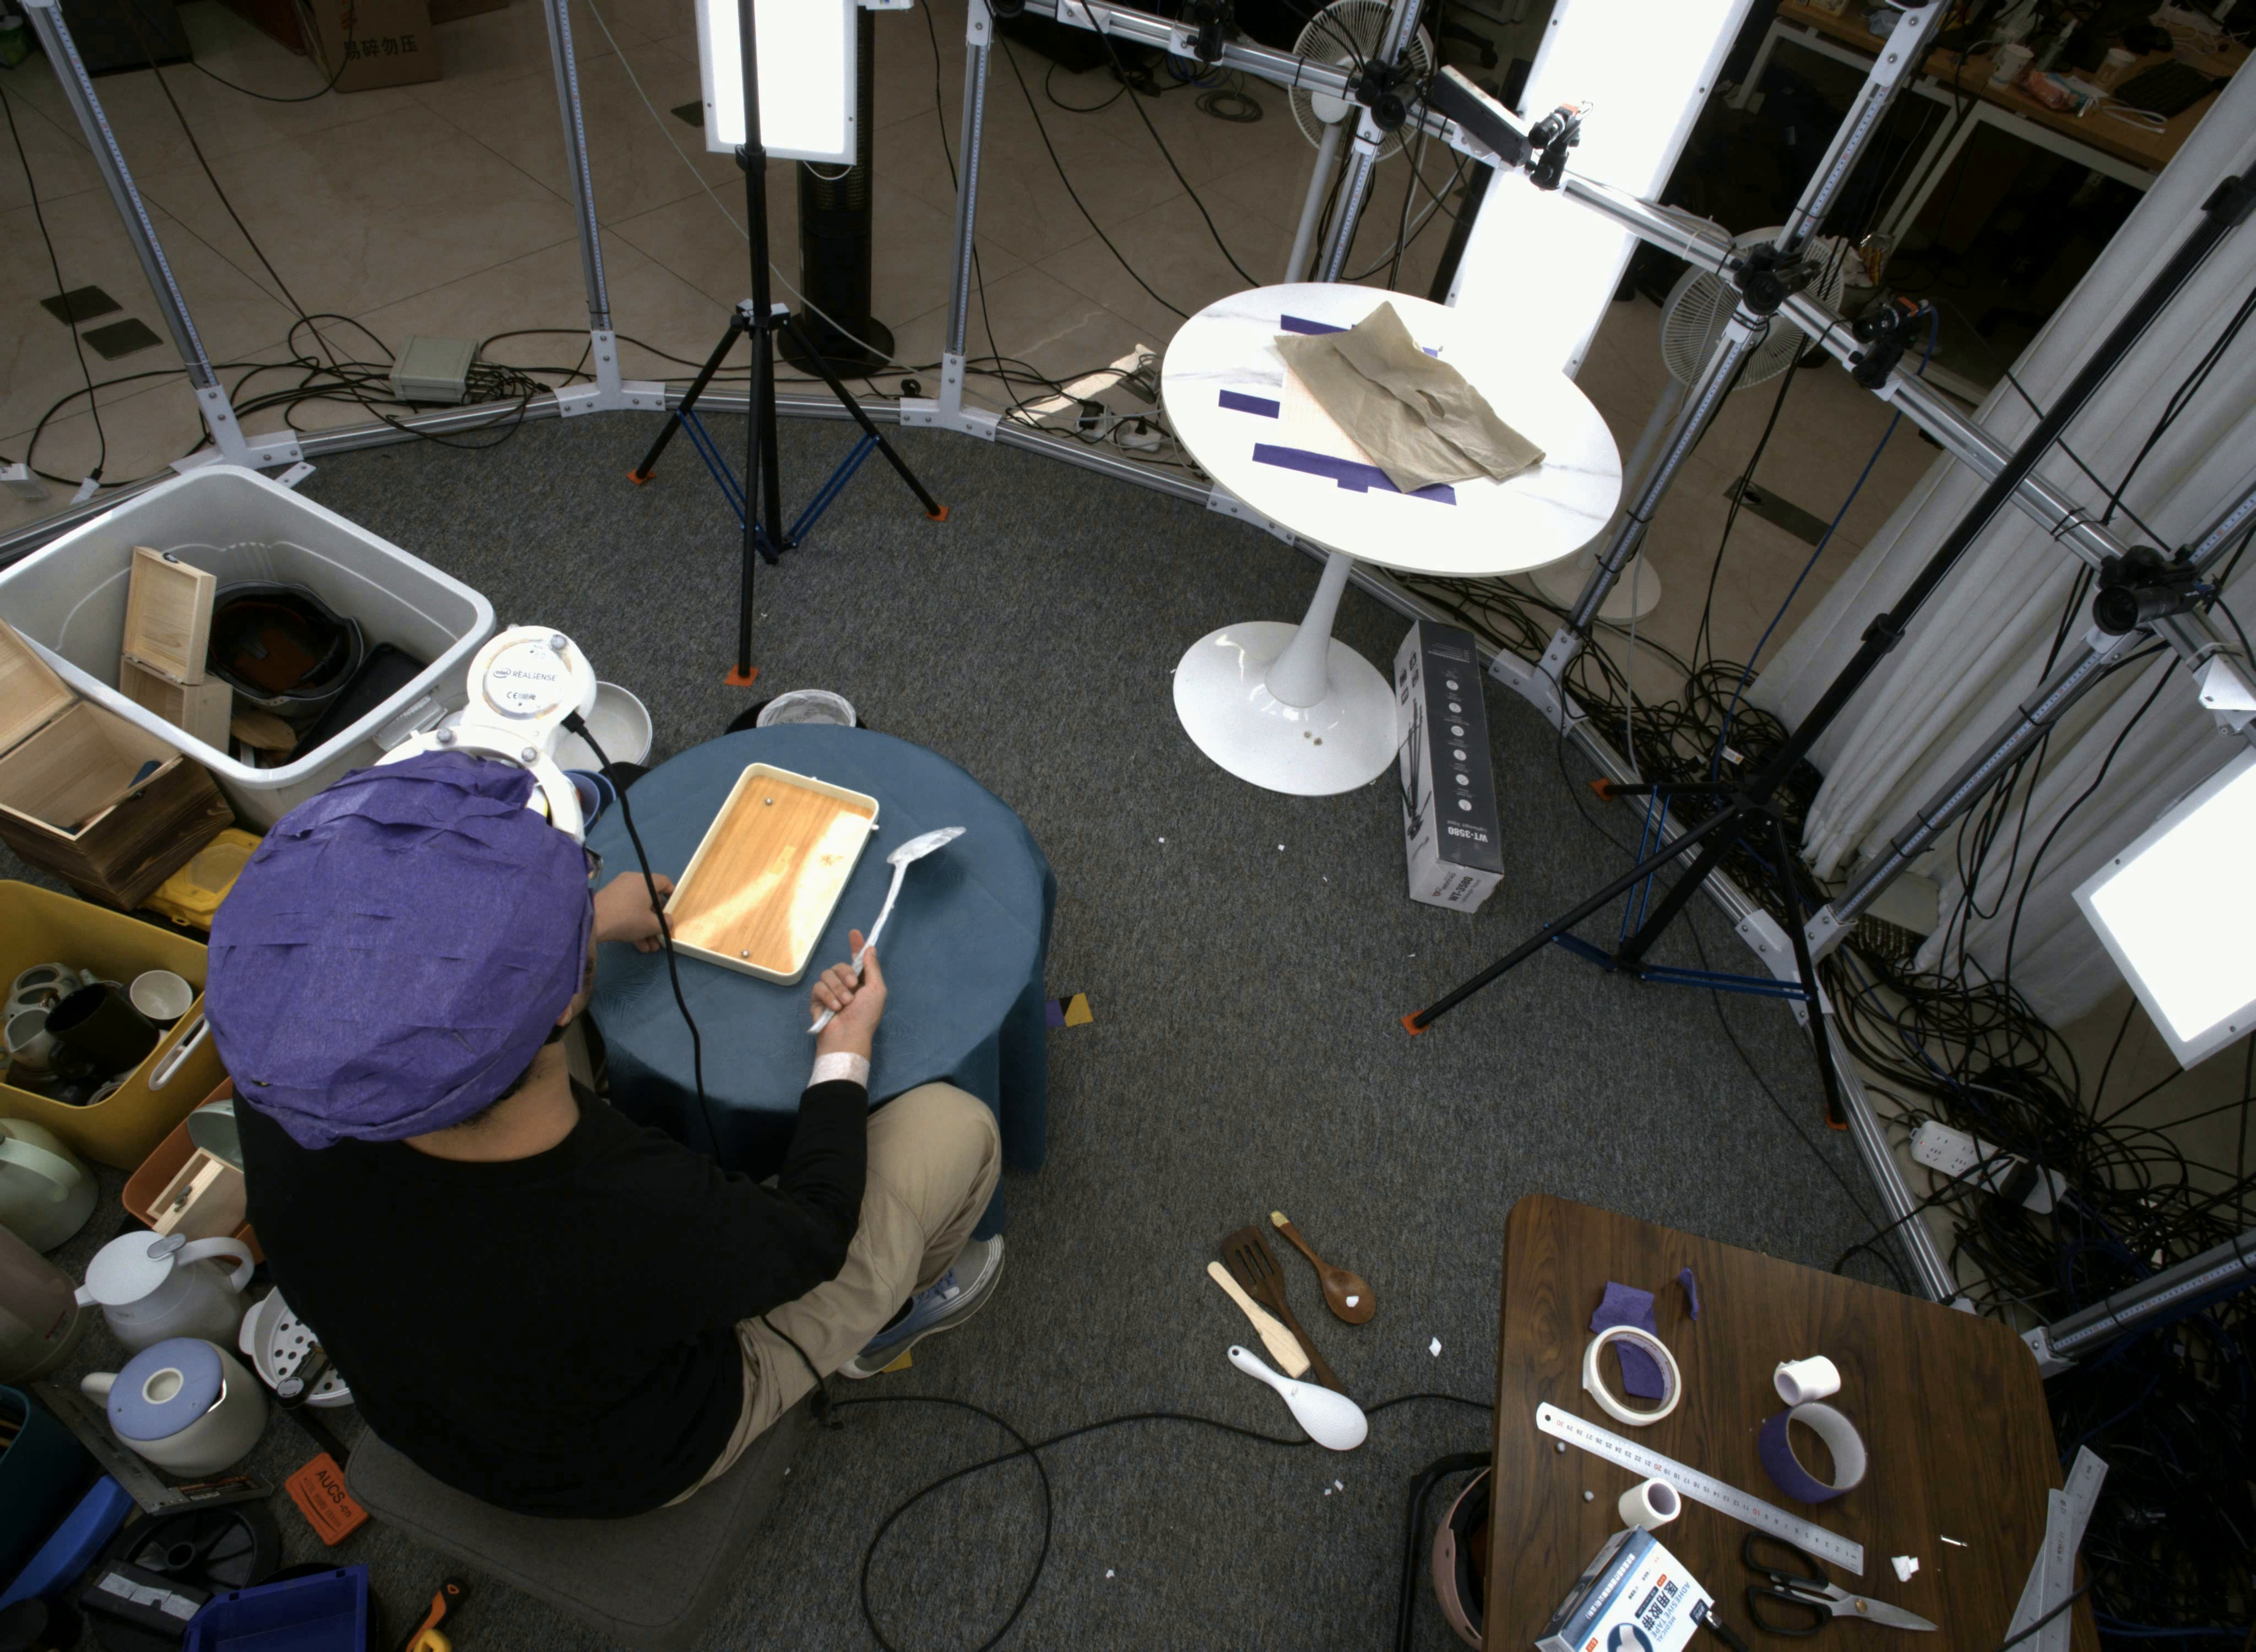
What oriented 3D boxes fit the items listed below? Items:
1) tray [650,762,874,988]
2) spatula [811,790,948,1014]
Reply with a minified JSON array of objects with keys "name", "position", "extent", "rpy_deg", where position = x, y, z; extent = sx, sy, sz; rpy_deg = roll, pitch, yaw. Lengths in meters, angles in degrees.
[{"name":"tray","position":[-0.461,0.054,1.651],"extent":[0.190,0.028,0.297],"rpy_deg":[18,52,-1]},{"name":"spatula","position":[-0.309,0.088,1.583],"extent":[0.046,0.097,0.360],"rpy_deg":[37,47,-25]}]
